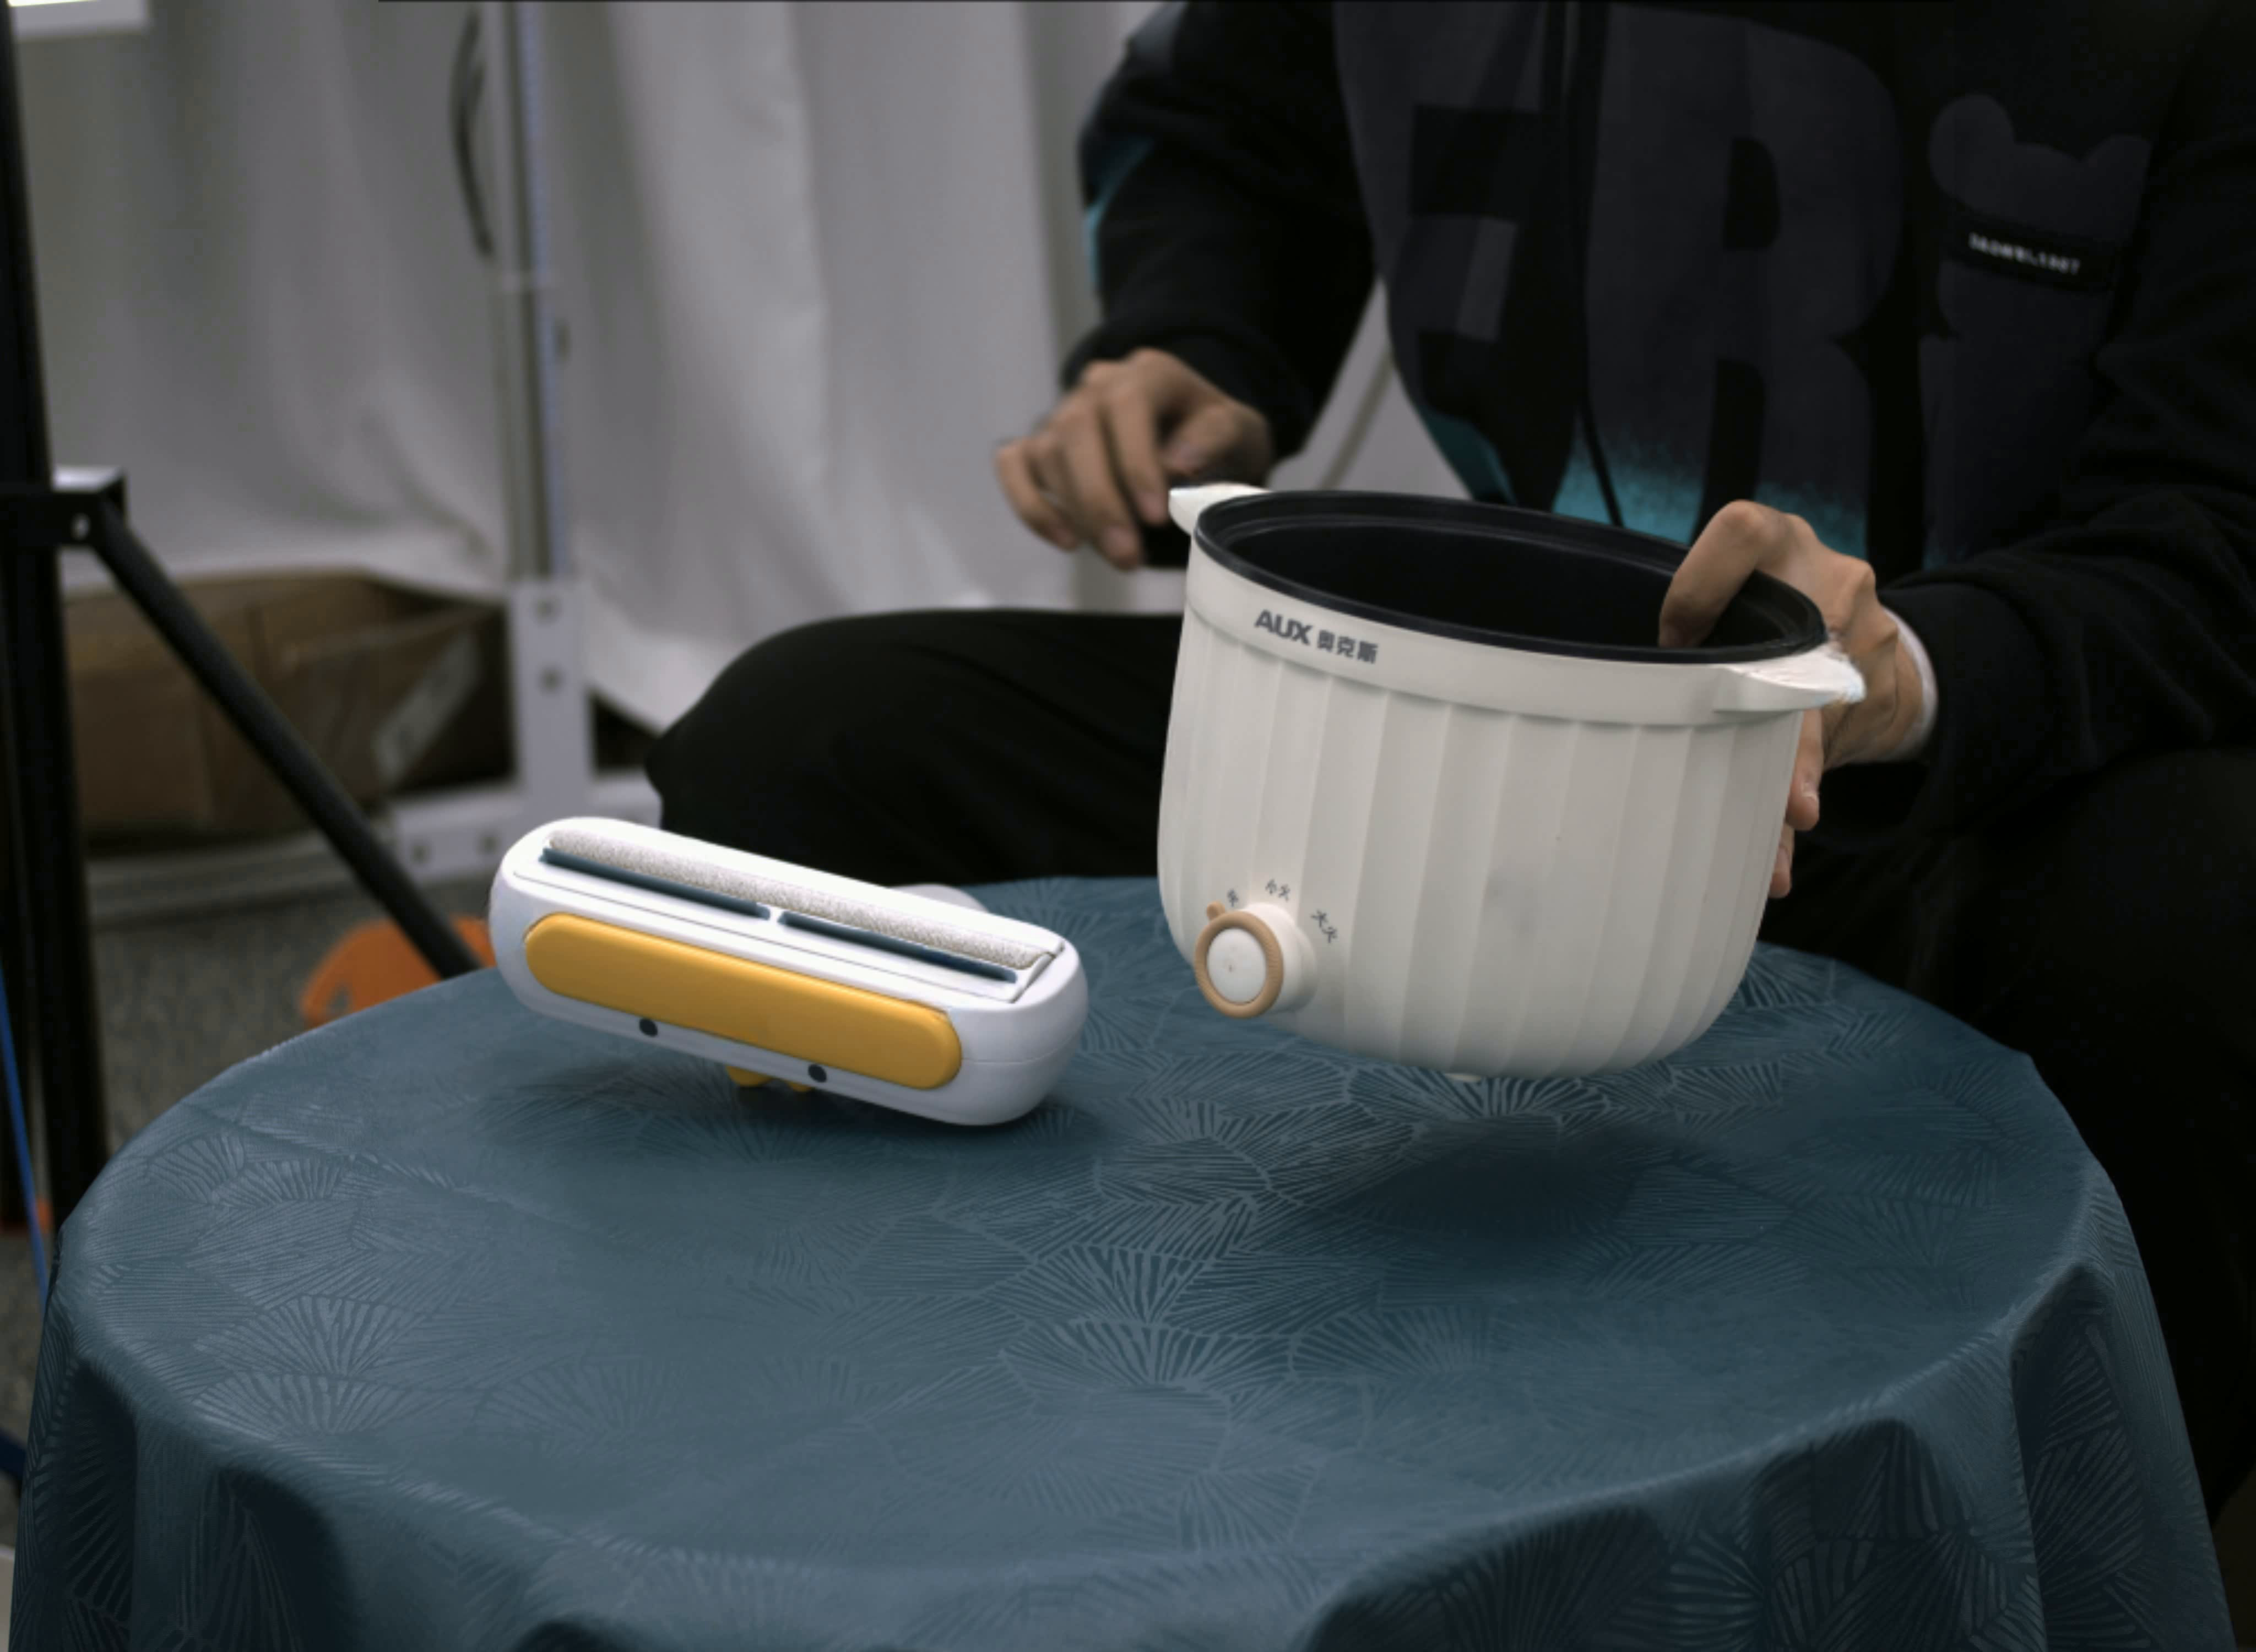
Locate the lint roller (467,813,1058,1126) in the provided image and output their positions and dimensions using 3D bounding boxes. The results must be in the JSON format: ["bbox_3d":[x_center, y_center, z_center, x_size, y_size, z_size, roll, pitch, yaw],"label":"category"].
[{"bbox_3d":[-0.090,0.036,1.703,0.195,0.074,0.189,11,18,23],"label":"lint roller"}]

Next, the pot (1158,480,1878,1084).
[{"bbox_3d":[0.097,-0.009,1.518,0.246,0.143,0.186,18,15,38],"label":"pot"}]
